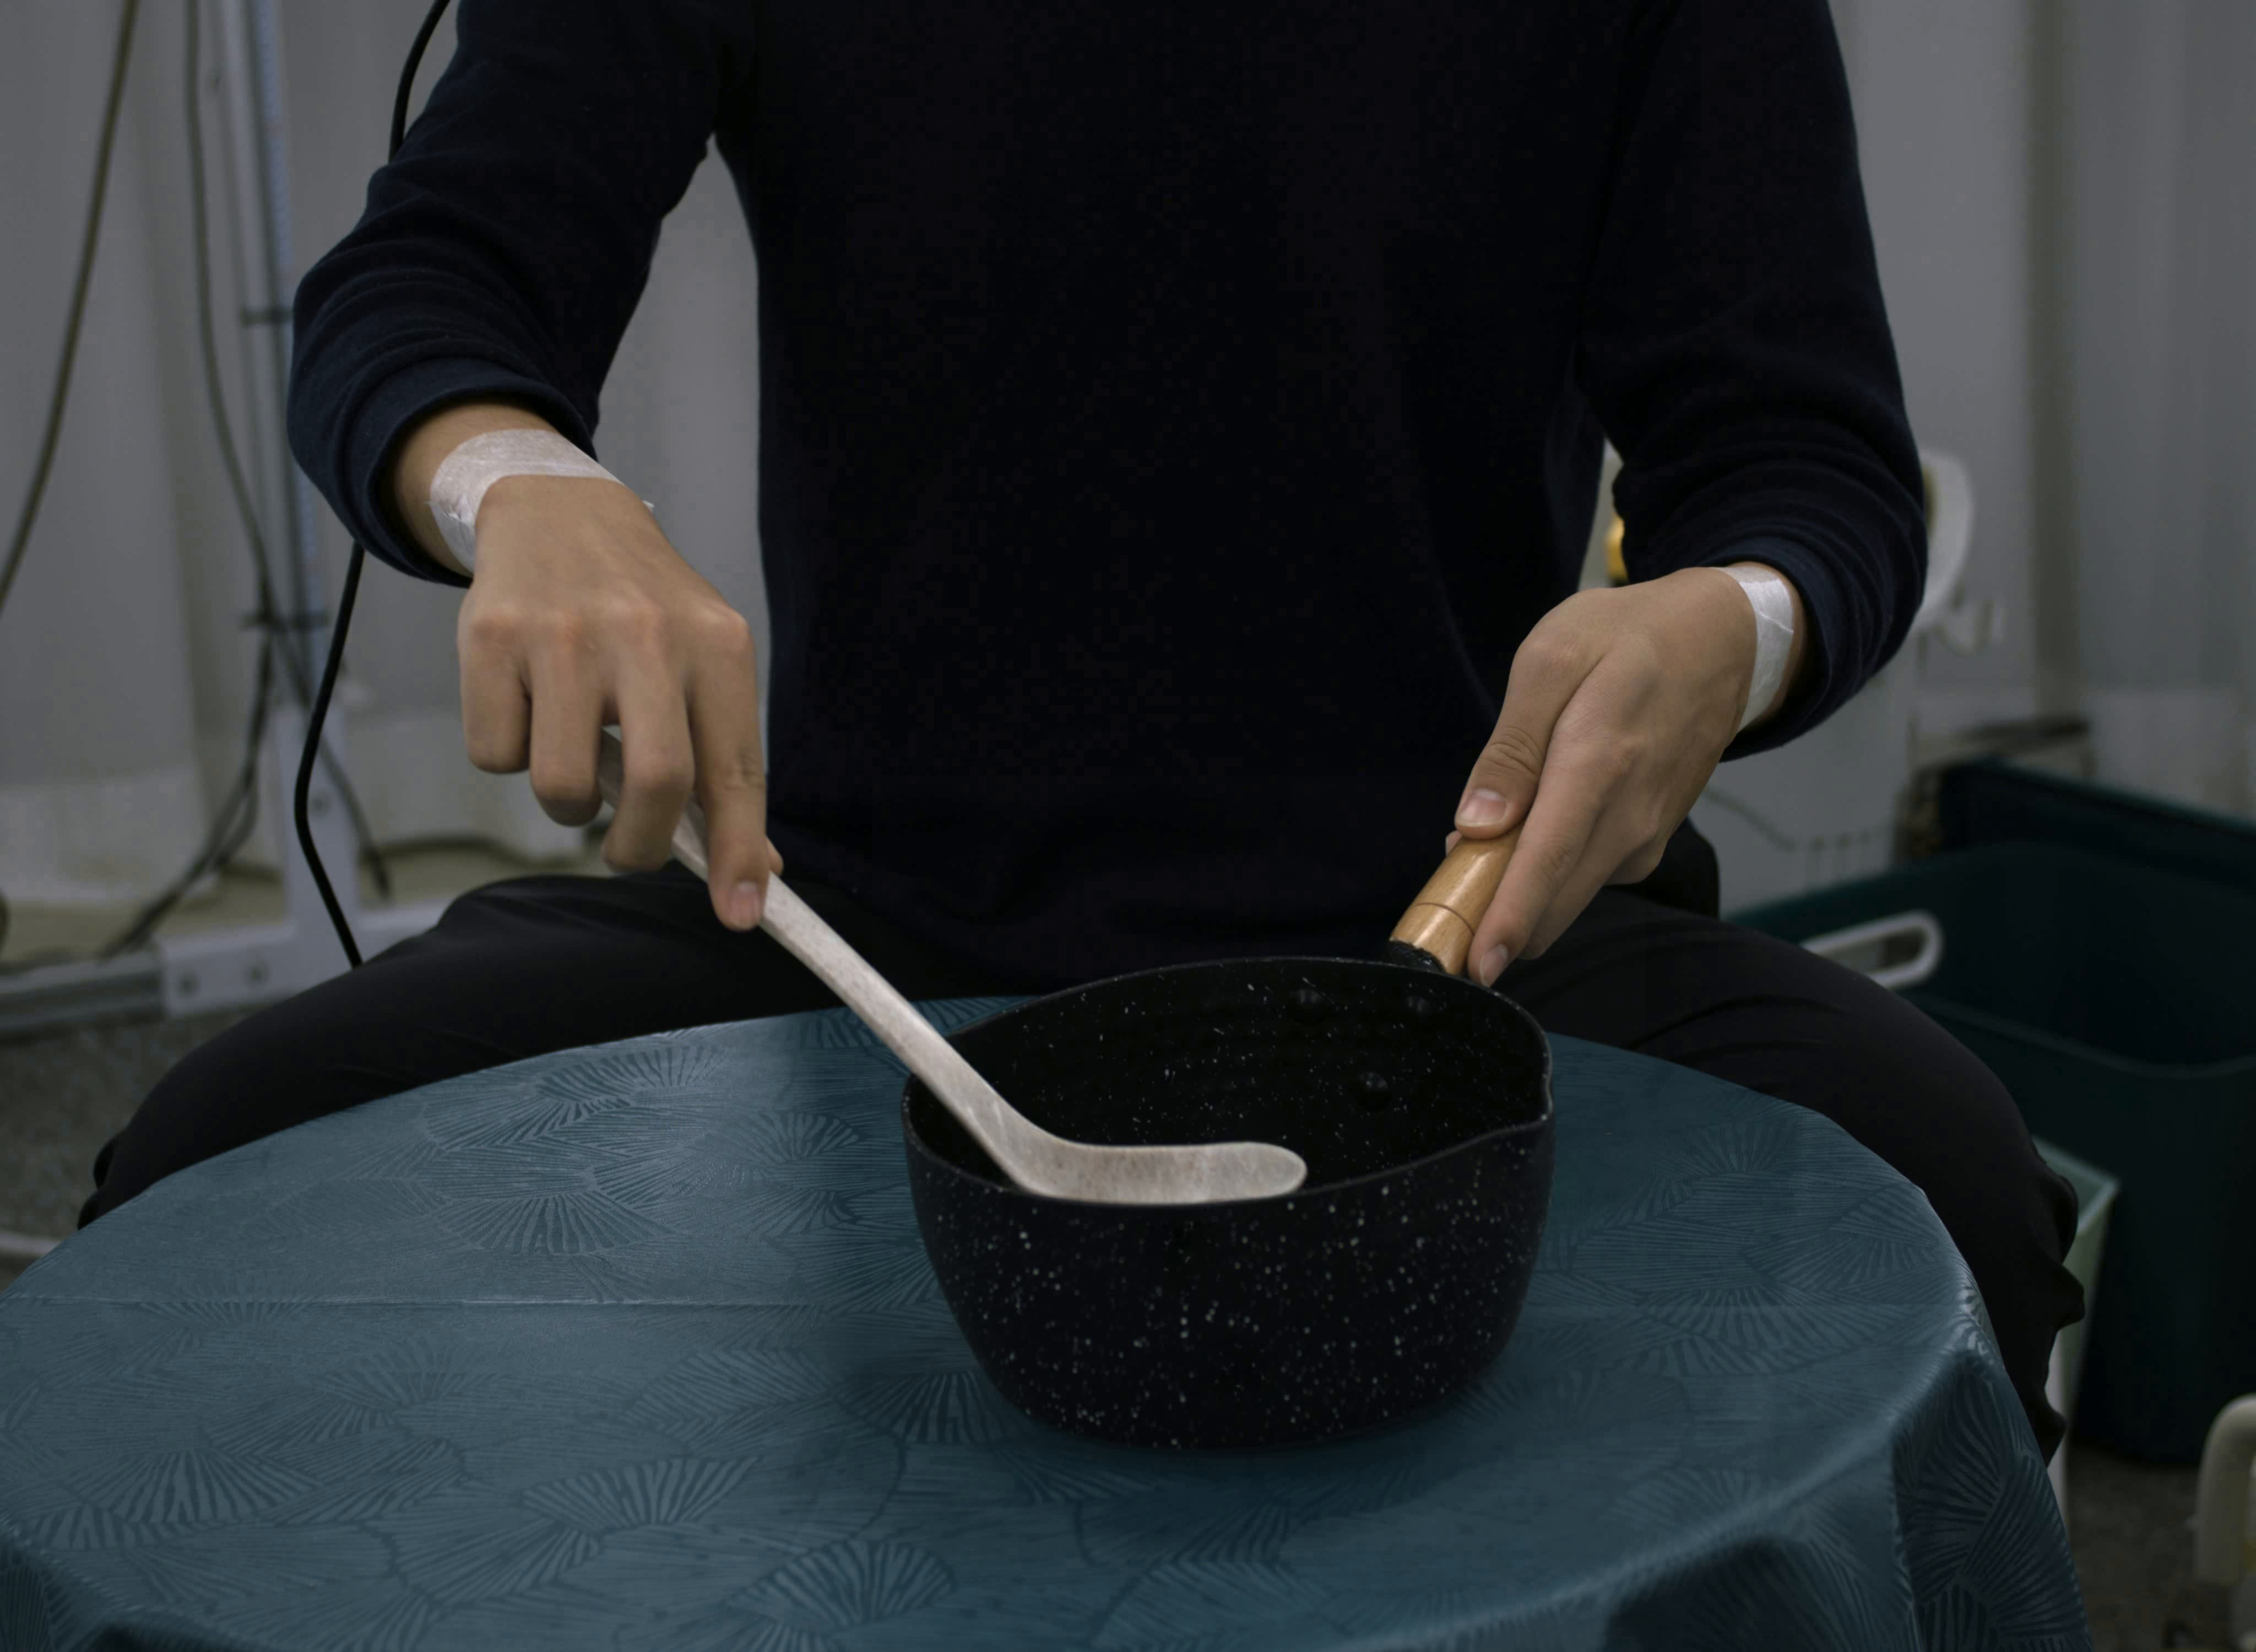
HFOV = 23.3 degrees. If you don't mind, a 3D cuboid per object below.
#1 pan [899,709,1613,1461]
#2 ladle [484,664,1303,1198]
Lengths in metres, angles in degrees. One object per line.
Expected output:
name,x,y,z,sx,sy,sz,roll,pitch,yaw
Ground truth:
pan,0.066,0.071,1.612,0.208,0.107,0.344,3,22,28
ladle,-0.069,0.030,1.554,0.275,0.069,0.089,44,32,6
